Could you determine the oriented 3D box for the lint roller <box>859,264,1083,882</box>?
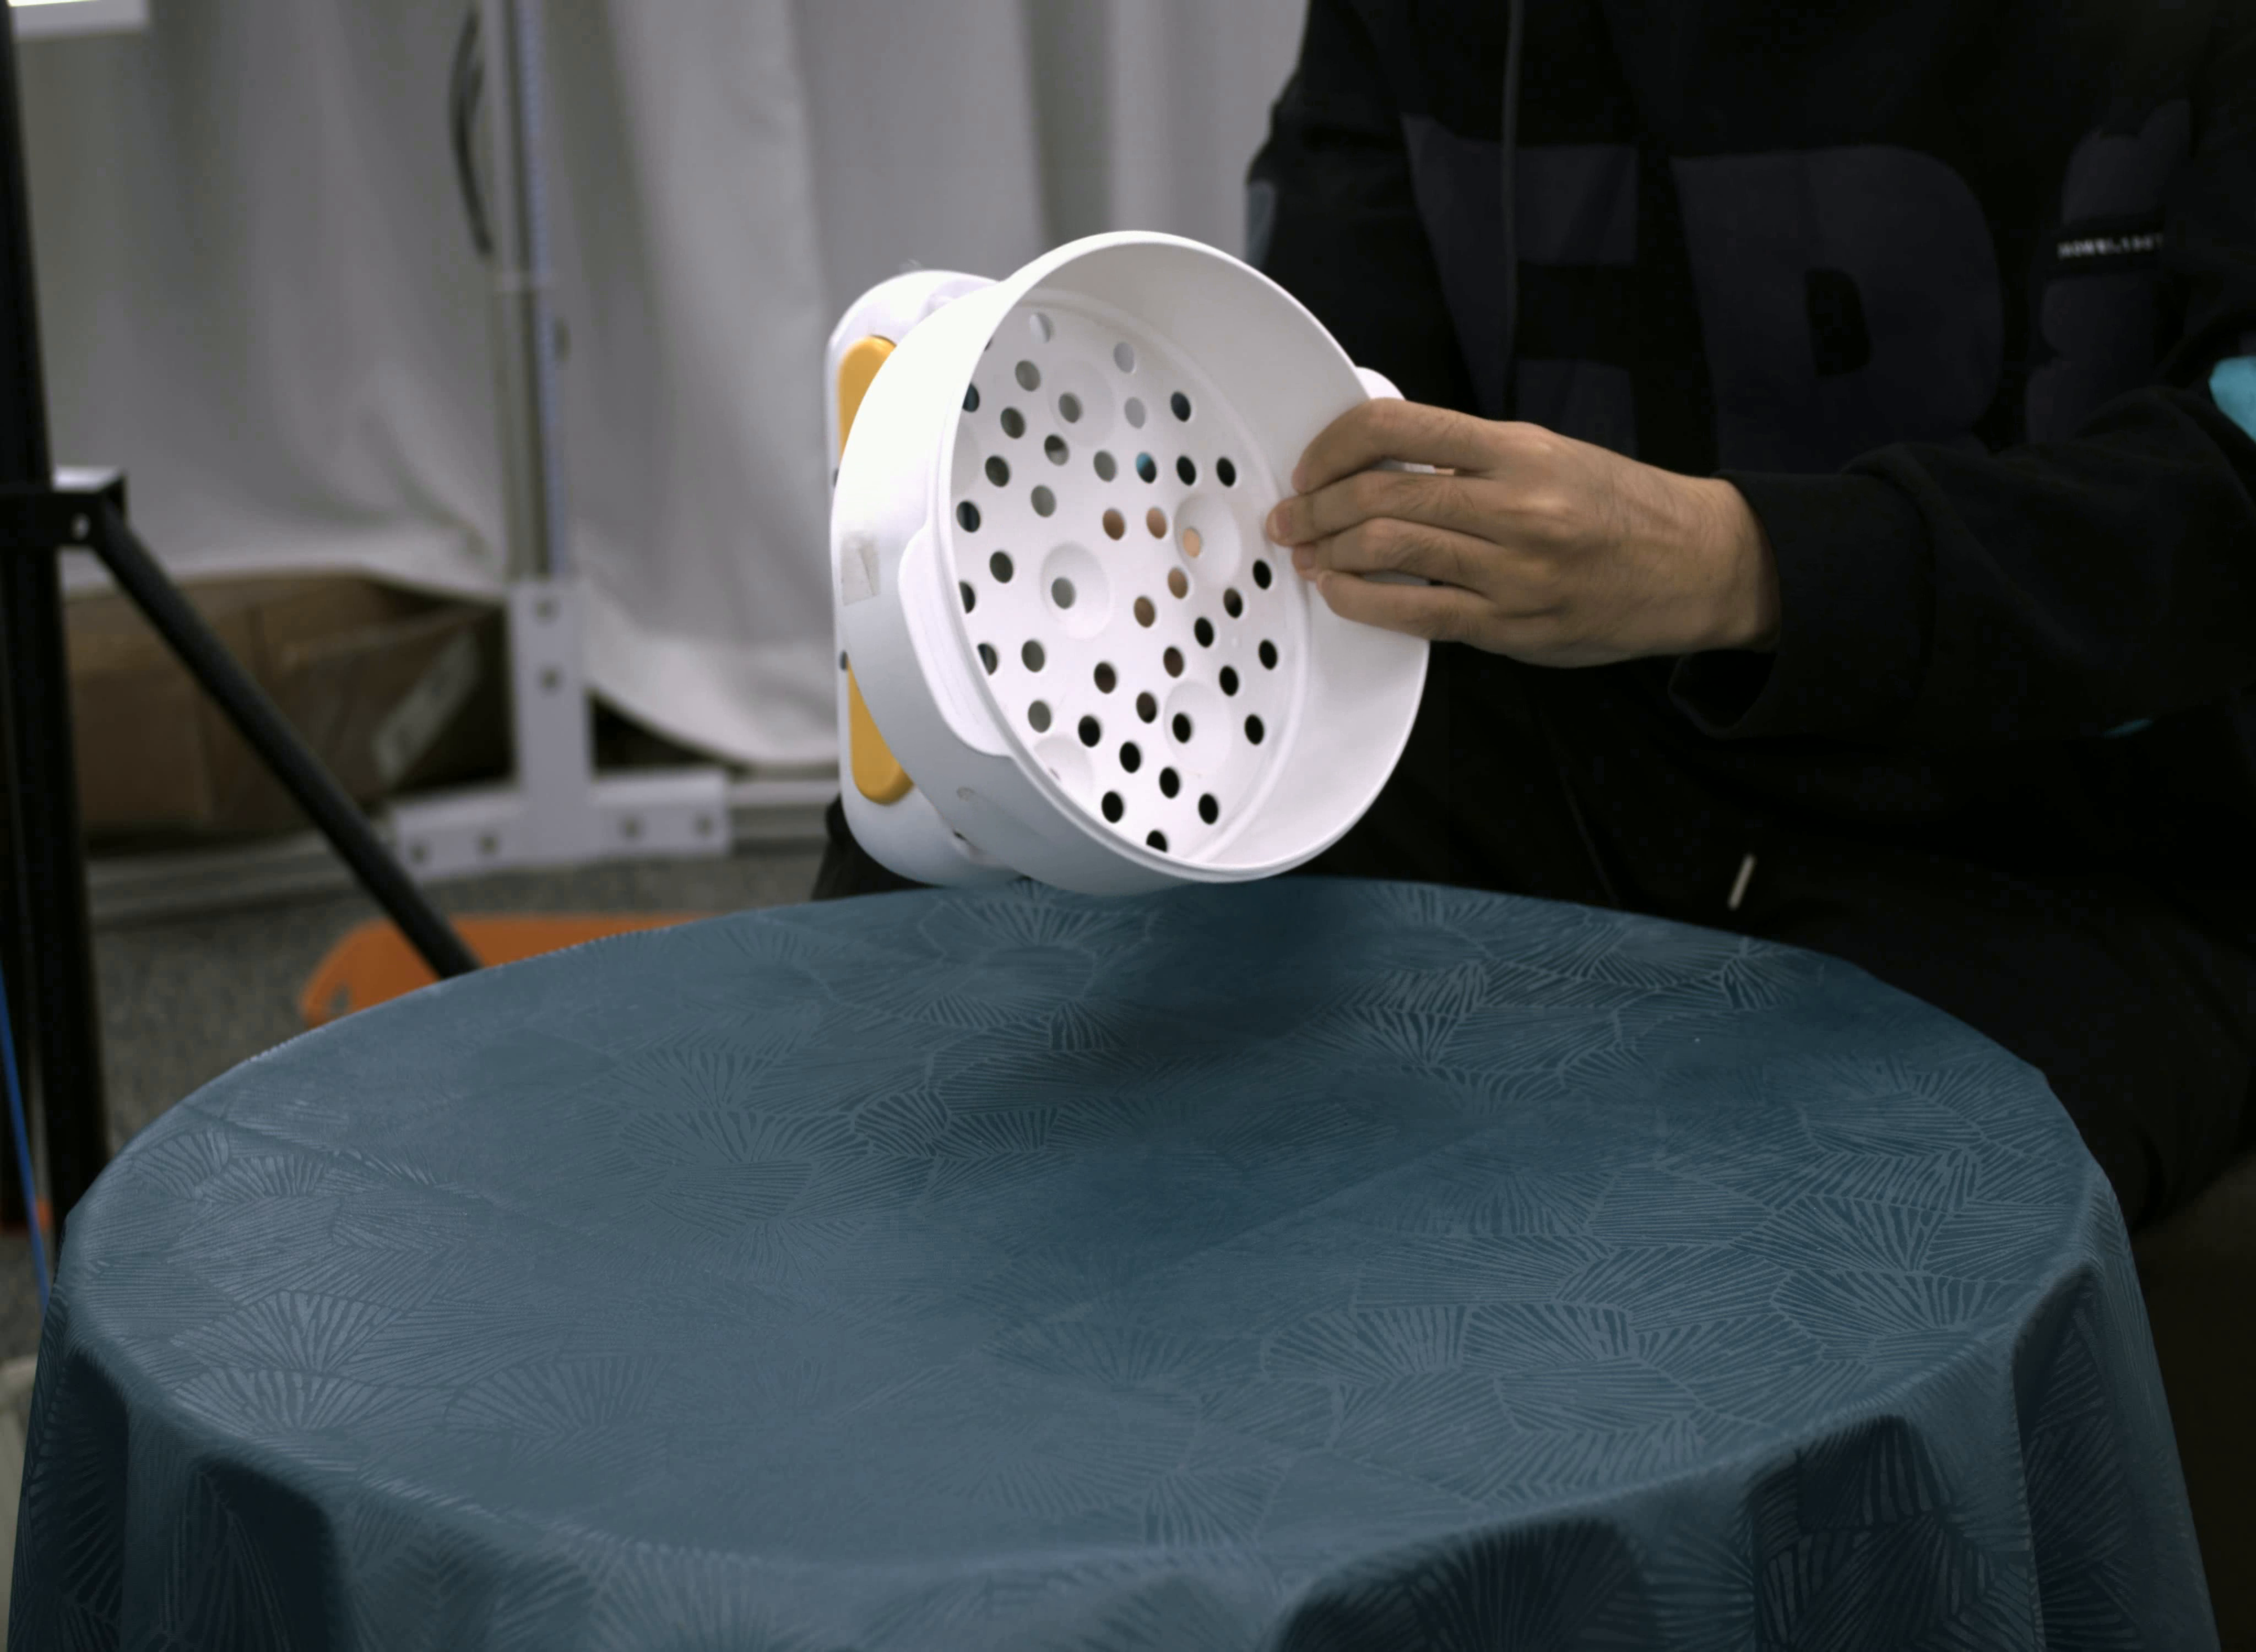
[{"bbox_3d":[-0.019,-0.071,1.718,0.075,0.194,0.187,-12,-14,33],"label":"lint roller"}]

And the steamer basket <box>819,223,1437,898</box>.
[{"bbox_3d":[-0.003,-0.077,1.622,0.226,0.202,0.070,-23,5,-41],"label":"steamer basket"}]
